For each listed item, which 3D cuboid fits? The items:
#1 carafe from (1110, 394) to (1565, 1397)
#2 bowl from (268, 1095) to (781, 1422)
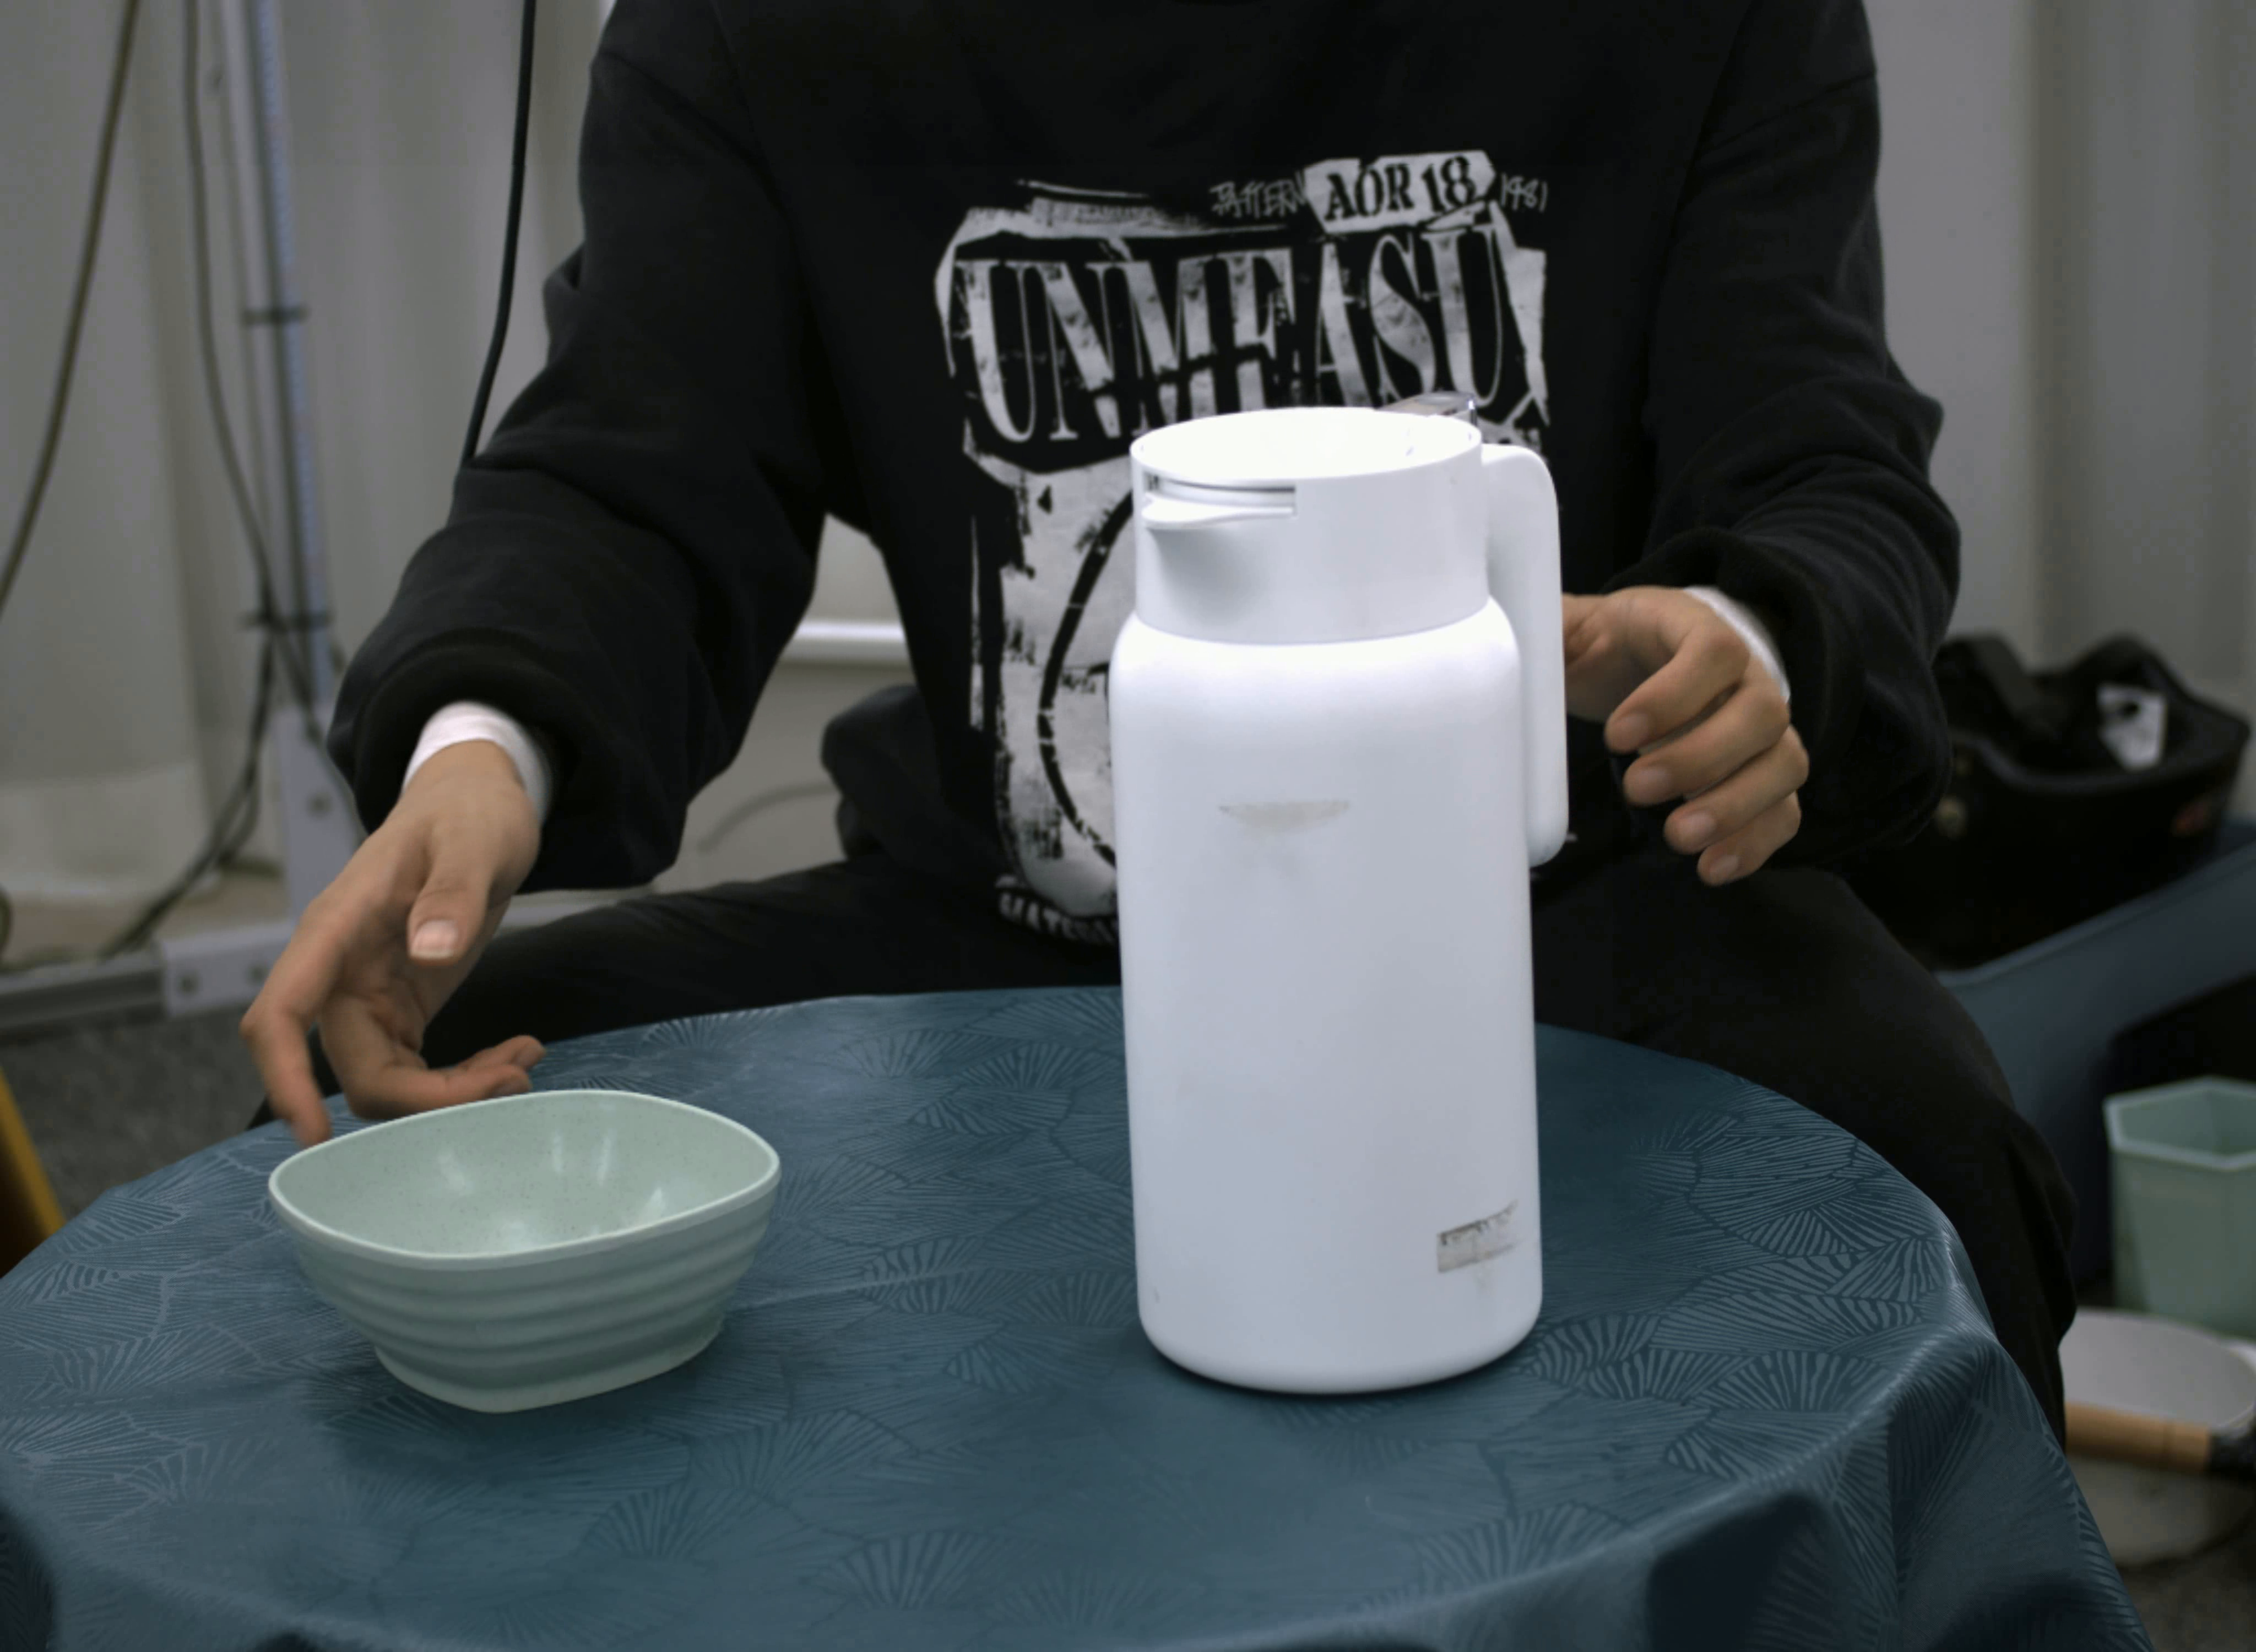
[{"bbox_3d":[0.065,0.015,1.562,0.124,0.268,0.173,5,16,37],"label":"carafe"},{"bbox_3d":[-0.174,0.129,1.592,0.151,0.058,0.152,-2,15,0],"label":"bowl"}]
